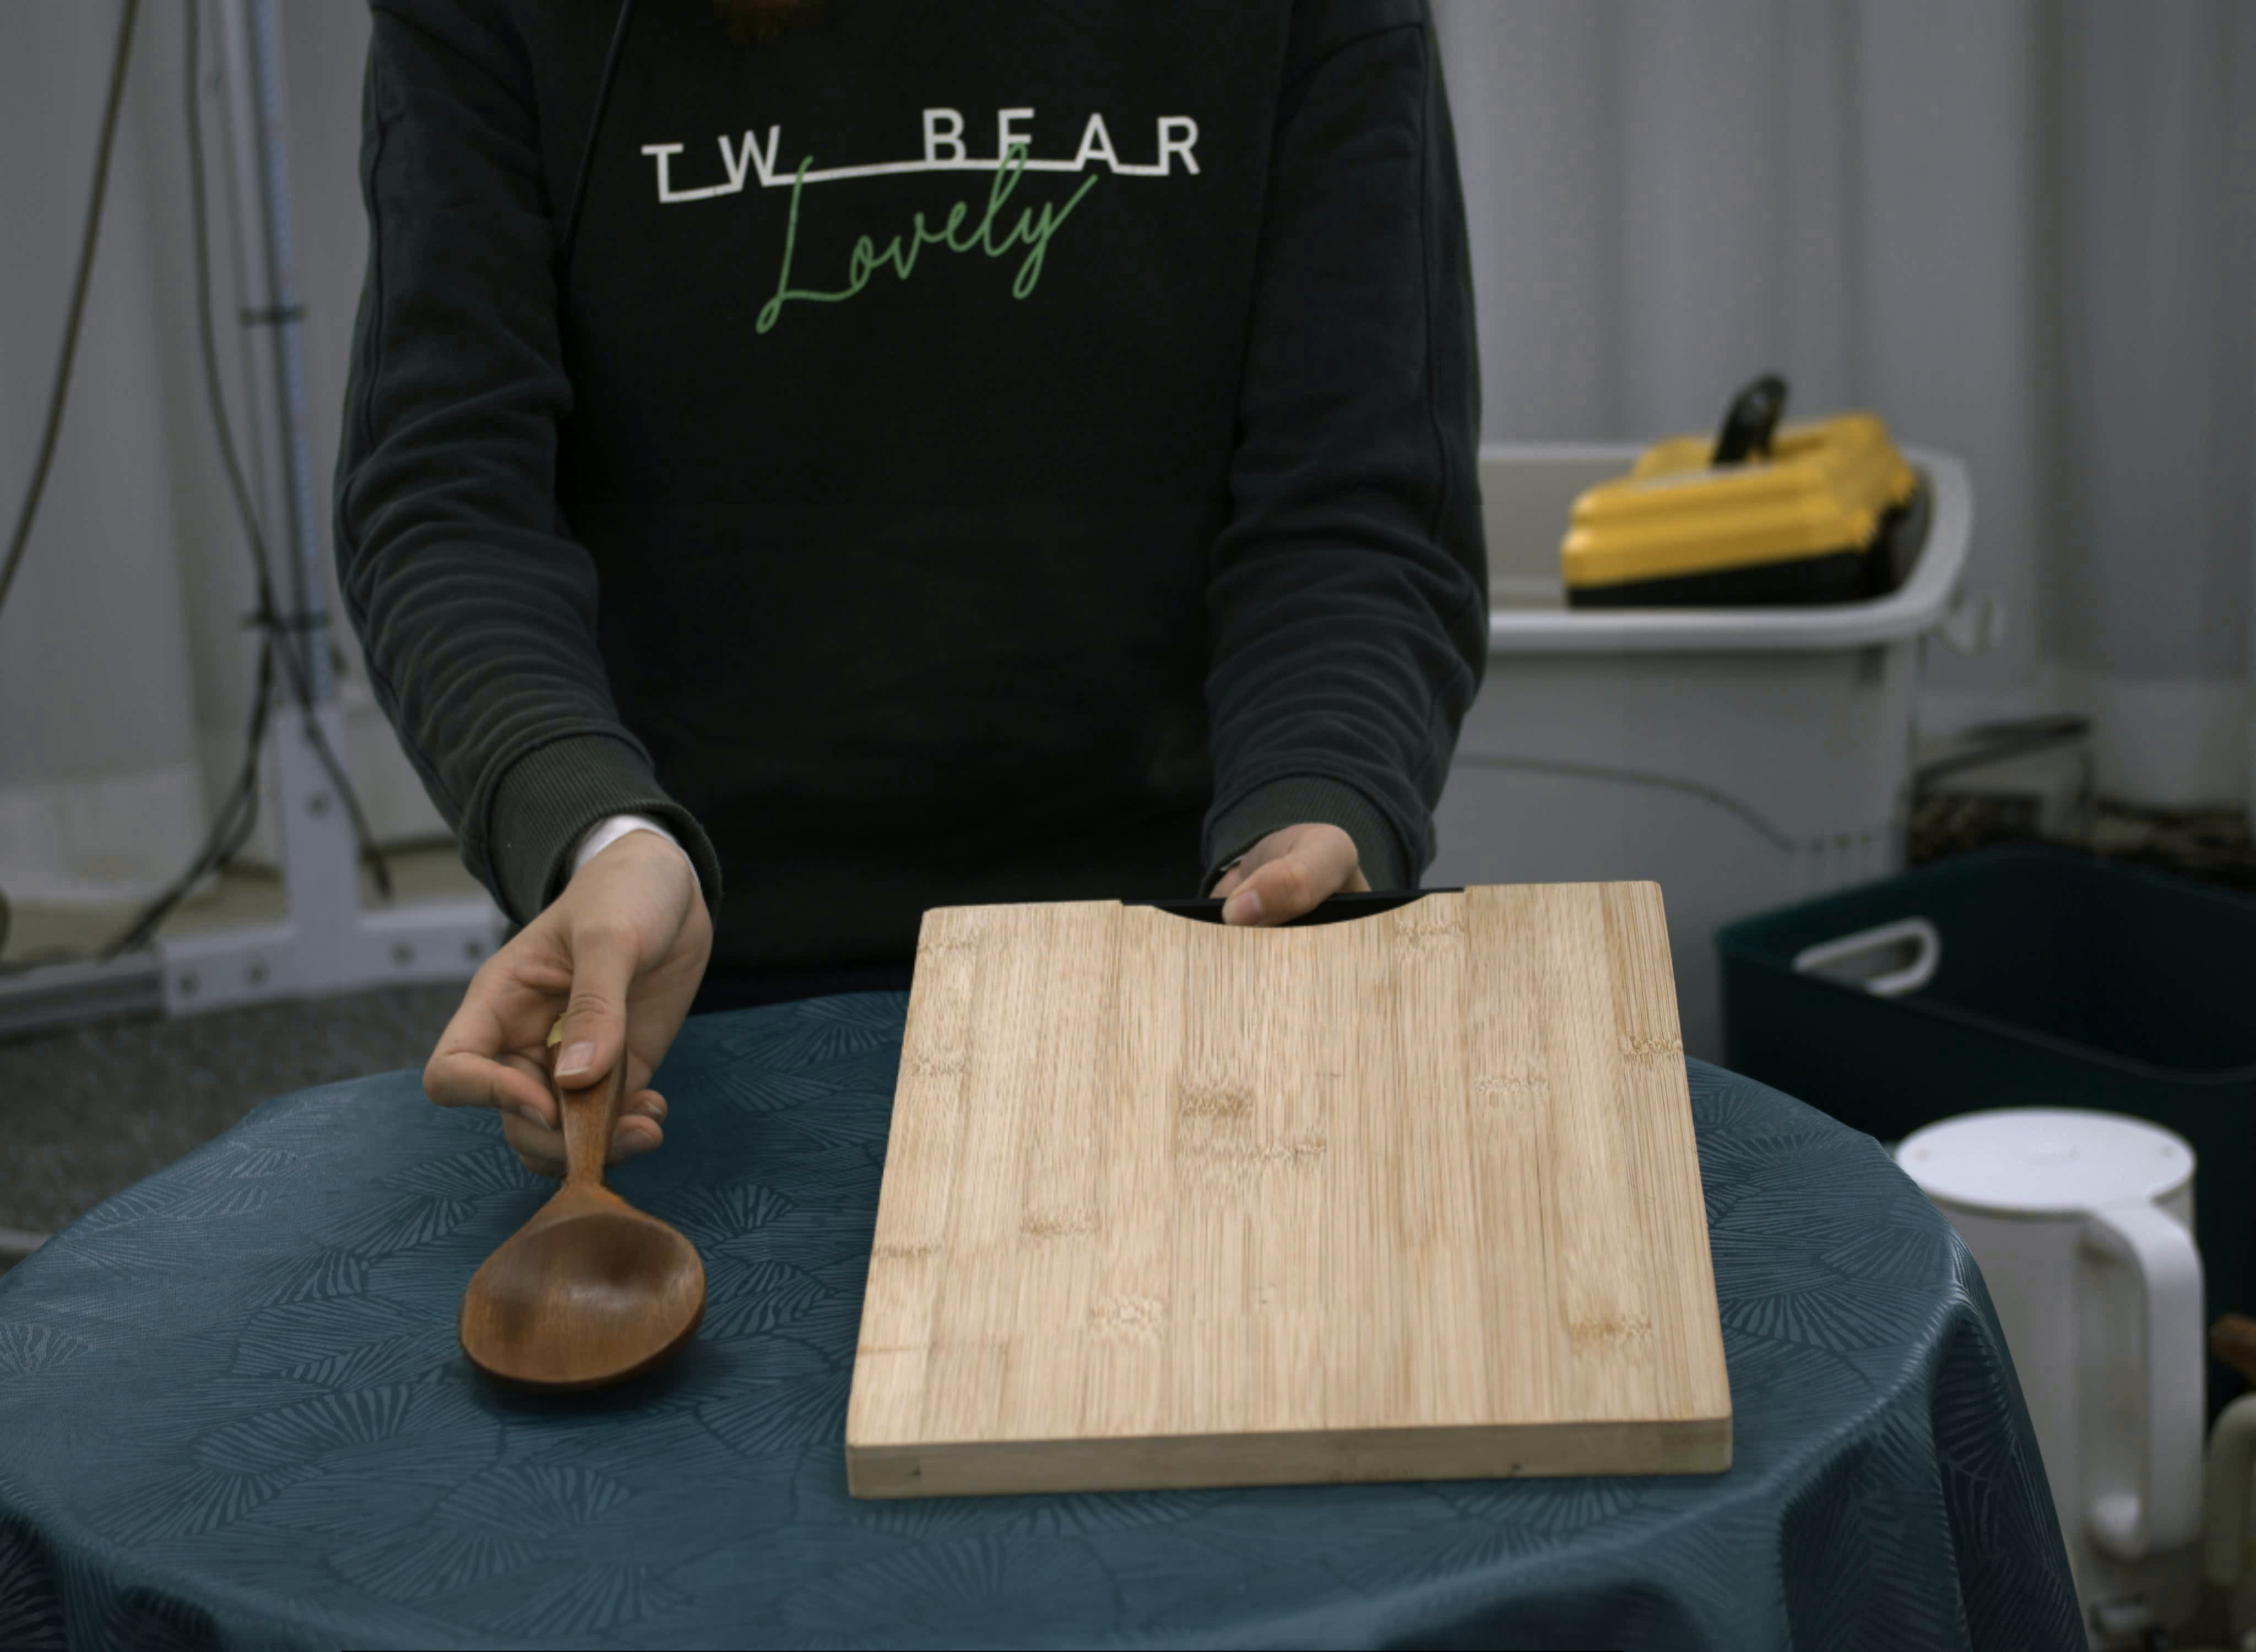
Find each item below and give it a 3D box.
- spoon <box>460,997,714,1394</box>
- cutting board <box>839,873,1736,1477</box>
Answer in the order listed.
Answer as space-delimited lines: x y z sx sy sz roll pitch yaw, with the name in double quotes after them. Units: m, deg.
-0.161 0.110 1.639 0.075 0.017 0.218 -10 28 0 "spoon"
0.049 0.098 1.627 0.250 0.023 0.352 -2 24 2 "cutting board"
